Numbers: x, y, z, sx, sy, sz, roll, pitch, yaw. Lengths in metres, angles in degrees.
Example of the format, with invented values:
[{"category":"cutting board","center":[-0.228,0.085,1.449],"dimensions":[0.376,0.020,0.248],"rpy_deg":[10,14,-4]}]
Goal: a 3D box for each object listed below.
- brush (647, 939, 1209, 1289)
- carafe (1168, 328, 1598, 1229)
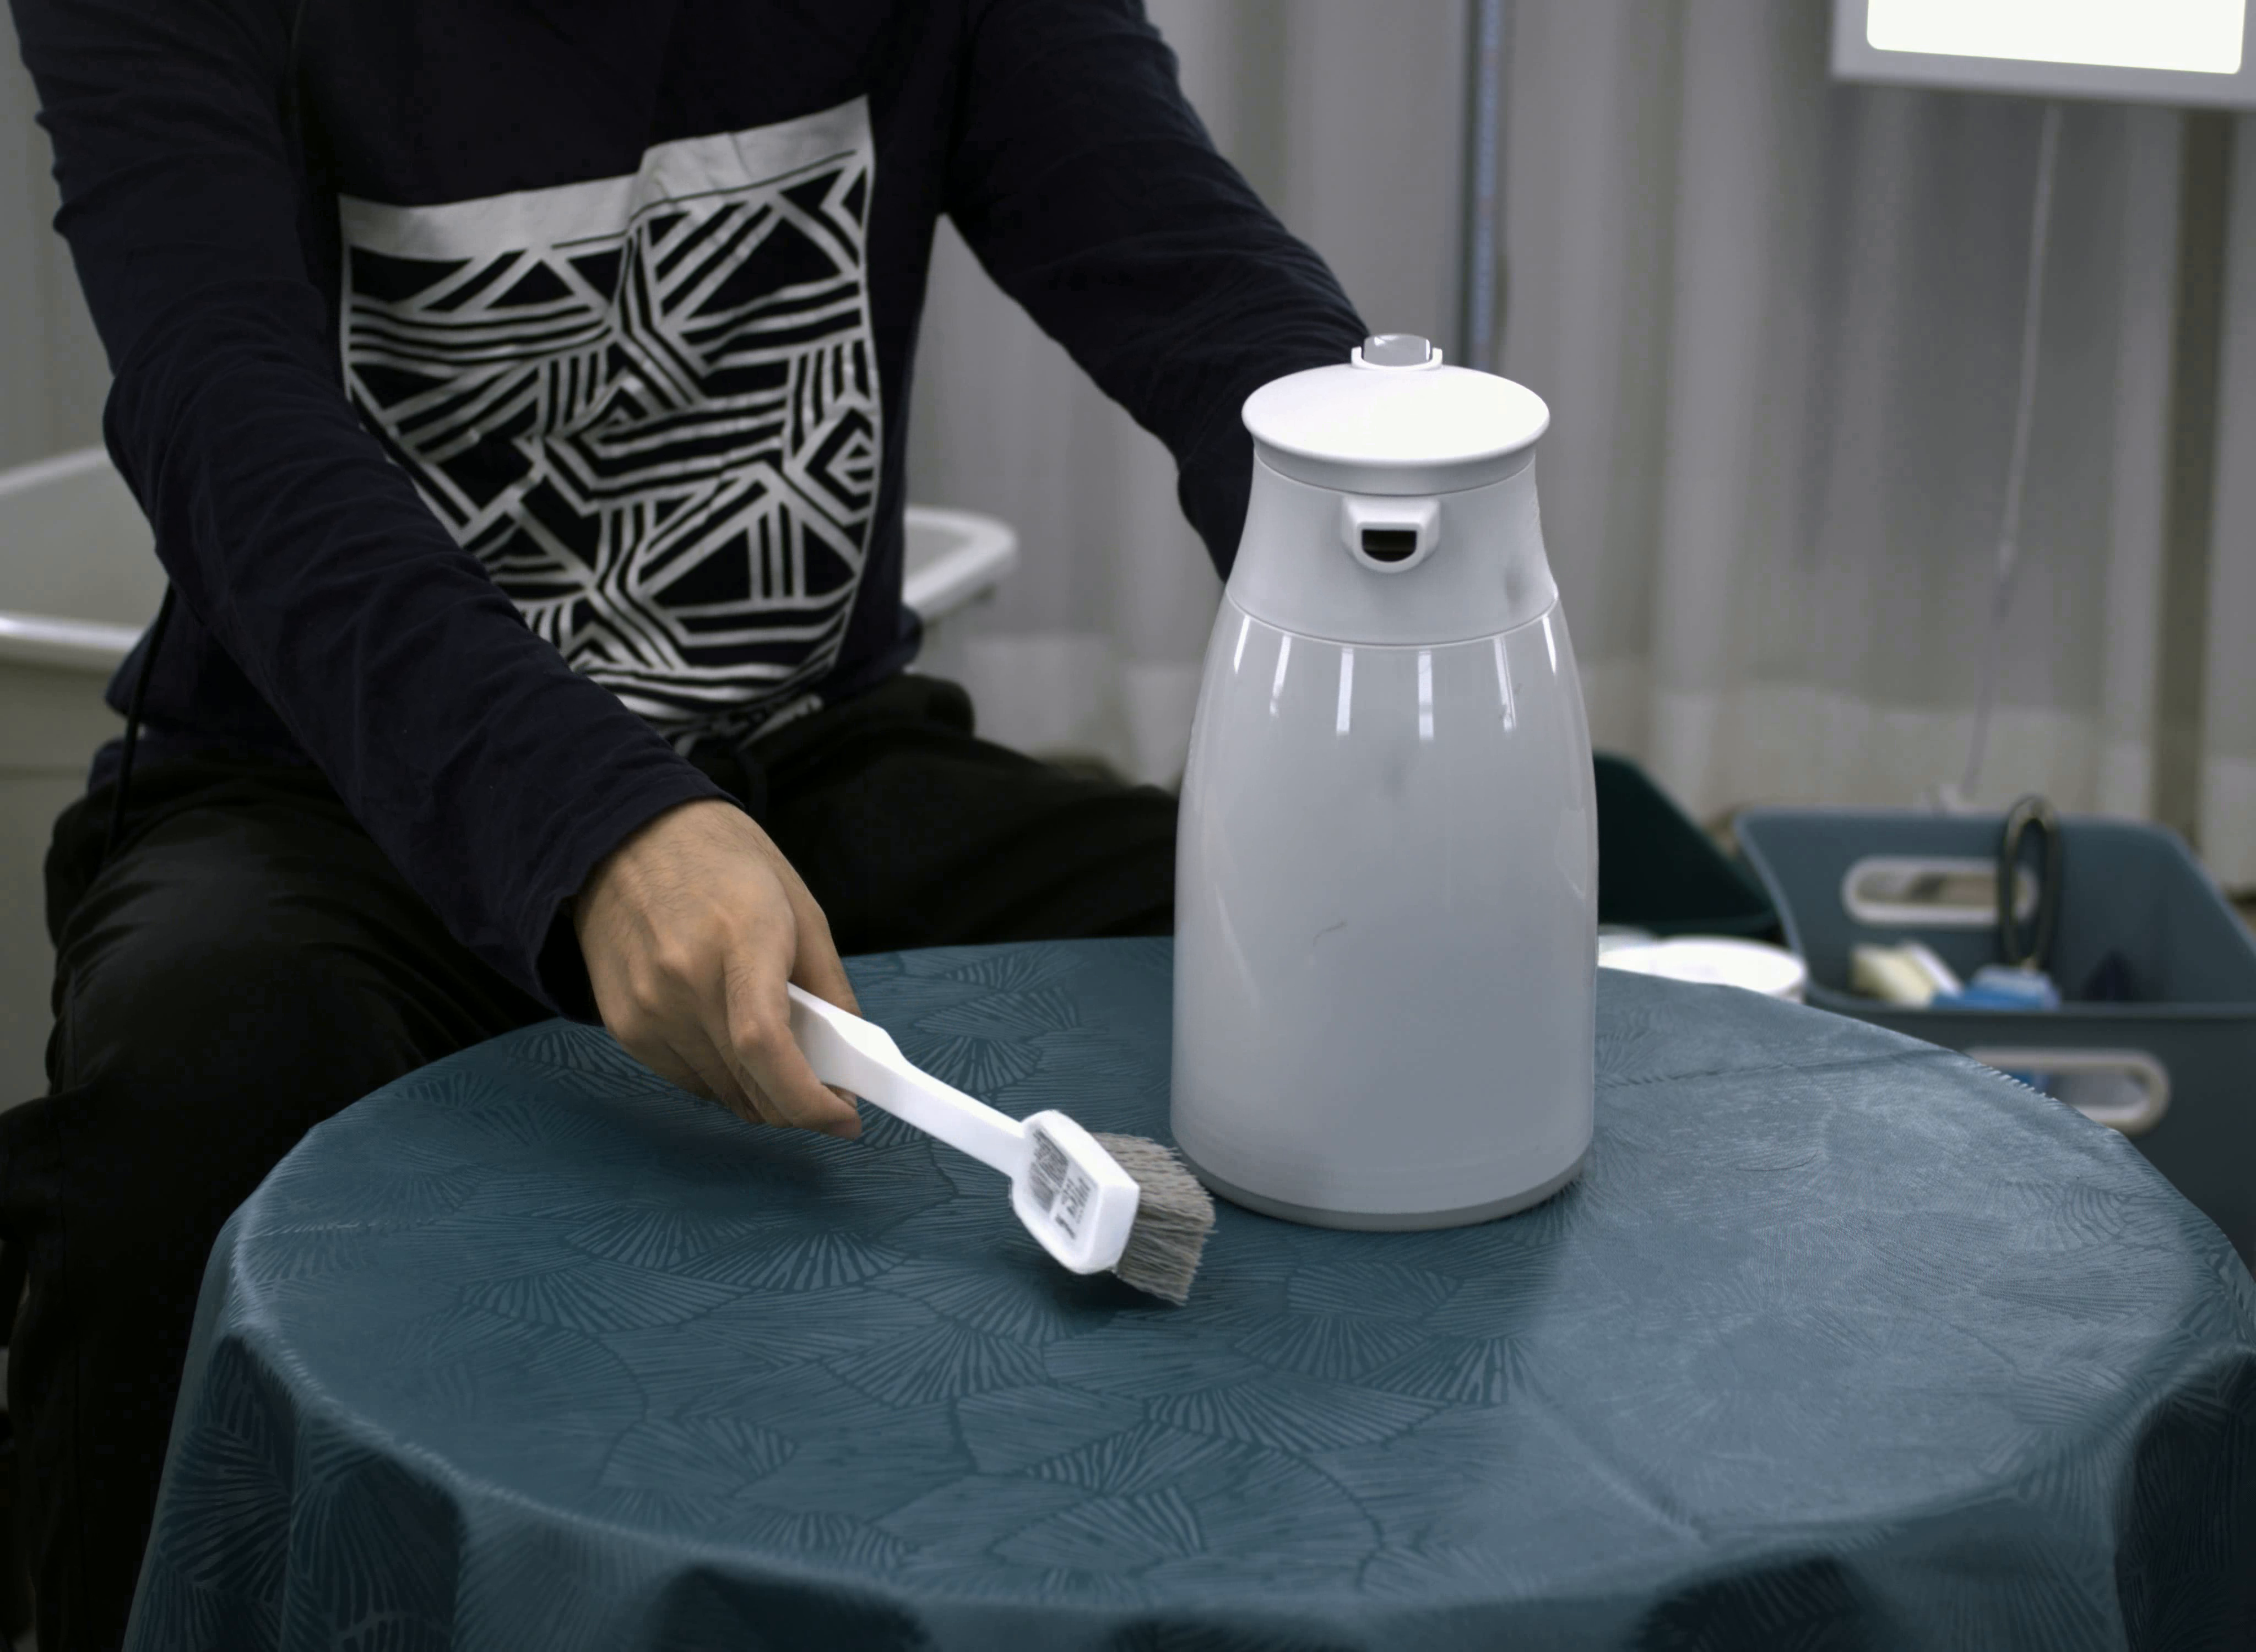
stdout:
[{"category":"brush","center":[-0.061,0.083,1.599],"dimensions":[0.050,0.034,0.240],"rpy_deg":[5,15,-43]},{"category":"carafe","center":[0.078,-0.024,1.617],"dimensions":[0.132,0.251,0.166],"rpy_deg":[0,23,1]}]
